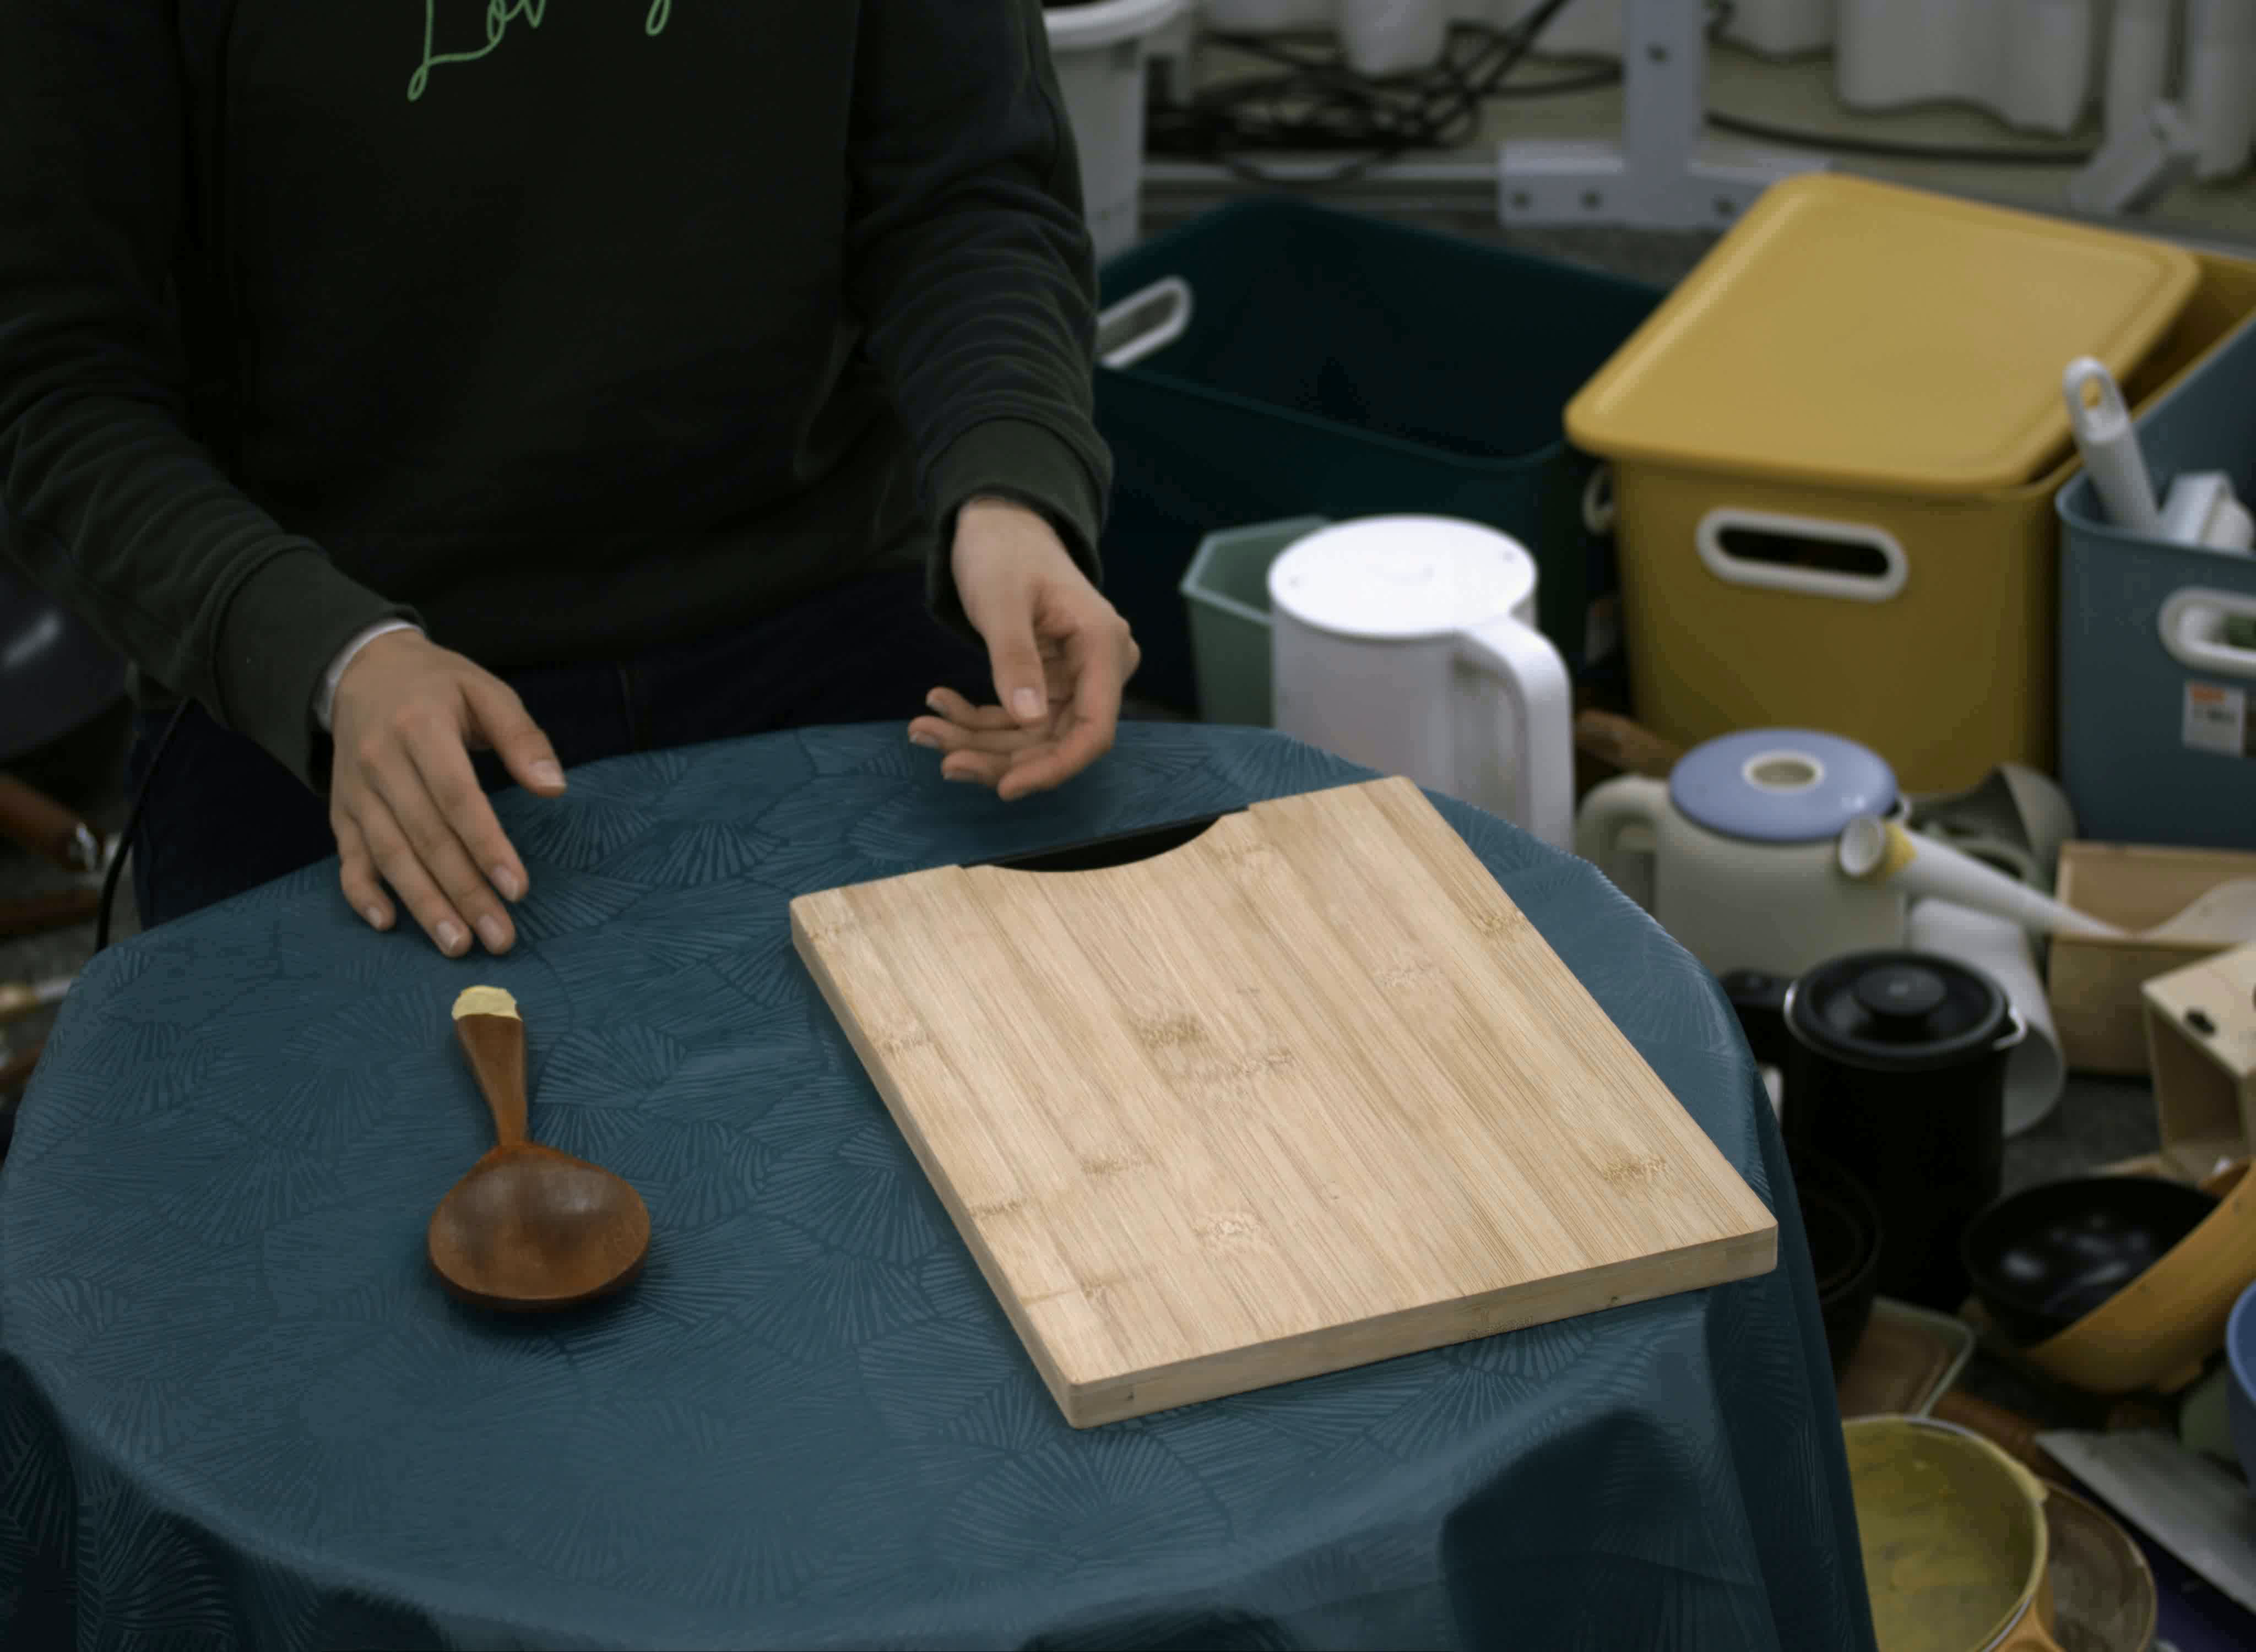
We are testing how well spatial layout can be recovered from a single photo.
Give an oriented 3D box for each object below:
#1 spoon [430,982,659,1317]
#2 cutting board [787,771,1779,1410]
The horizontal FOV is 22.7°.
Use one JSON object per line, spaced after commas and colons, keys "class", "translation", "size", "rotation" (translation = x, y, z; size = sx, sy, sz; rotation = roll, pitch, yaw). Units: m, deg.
{"class": "spoon", "translation": [-0.204, 0.109, 1.887], "size": [0.075, 0.017, 0.218], "rotation": [-9, 28, -9]}
{"class": "cutting board", "translation": [0.042, 0.083, 1.915], "size": [0.251, 0.023, 0.352], "rotation": [-11, 28, -16]}
